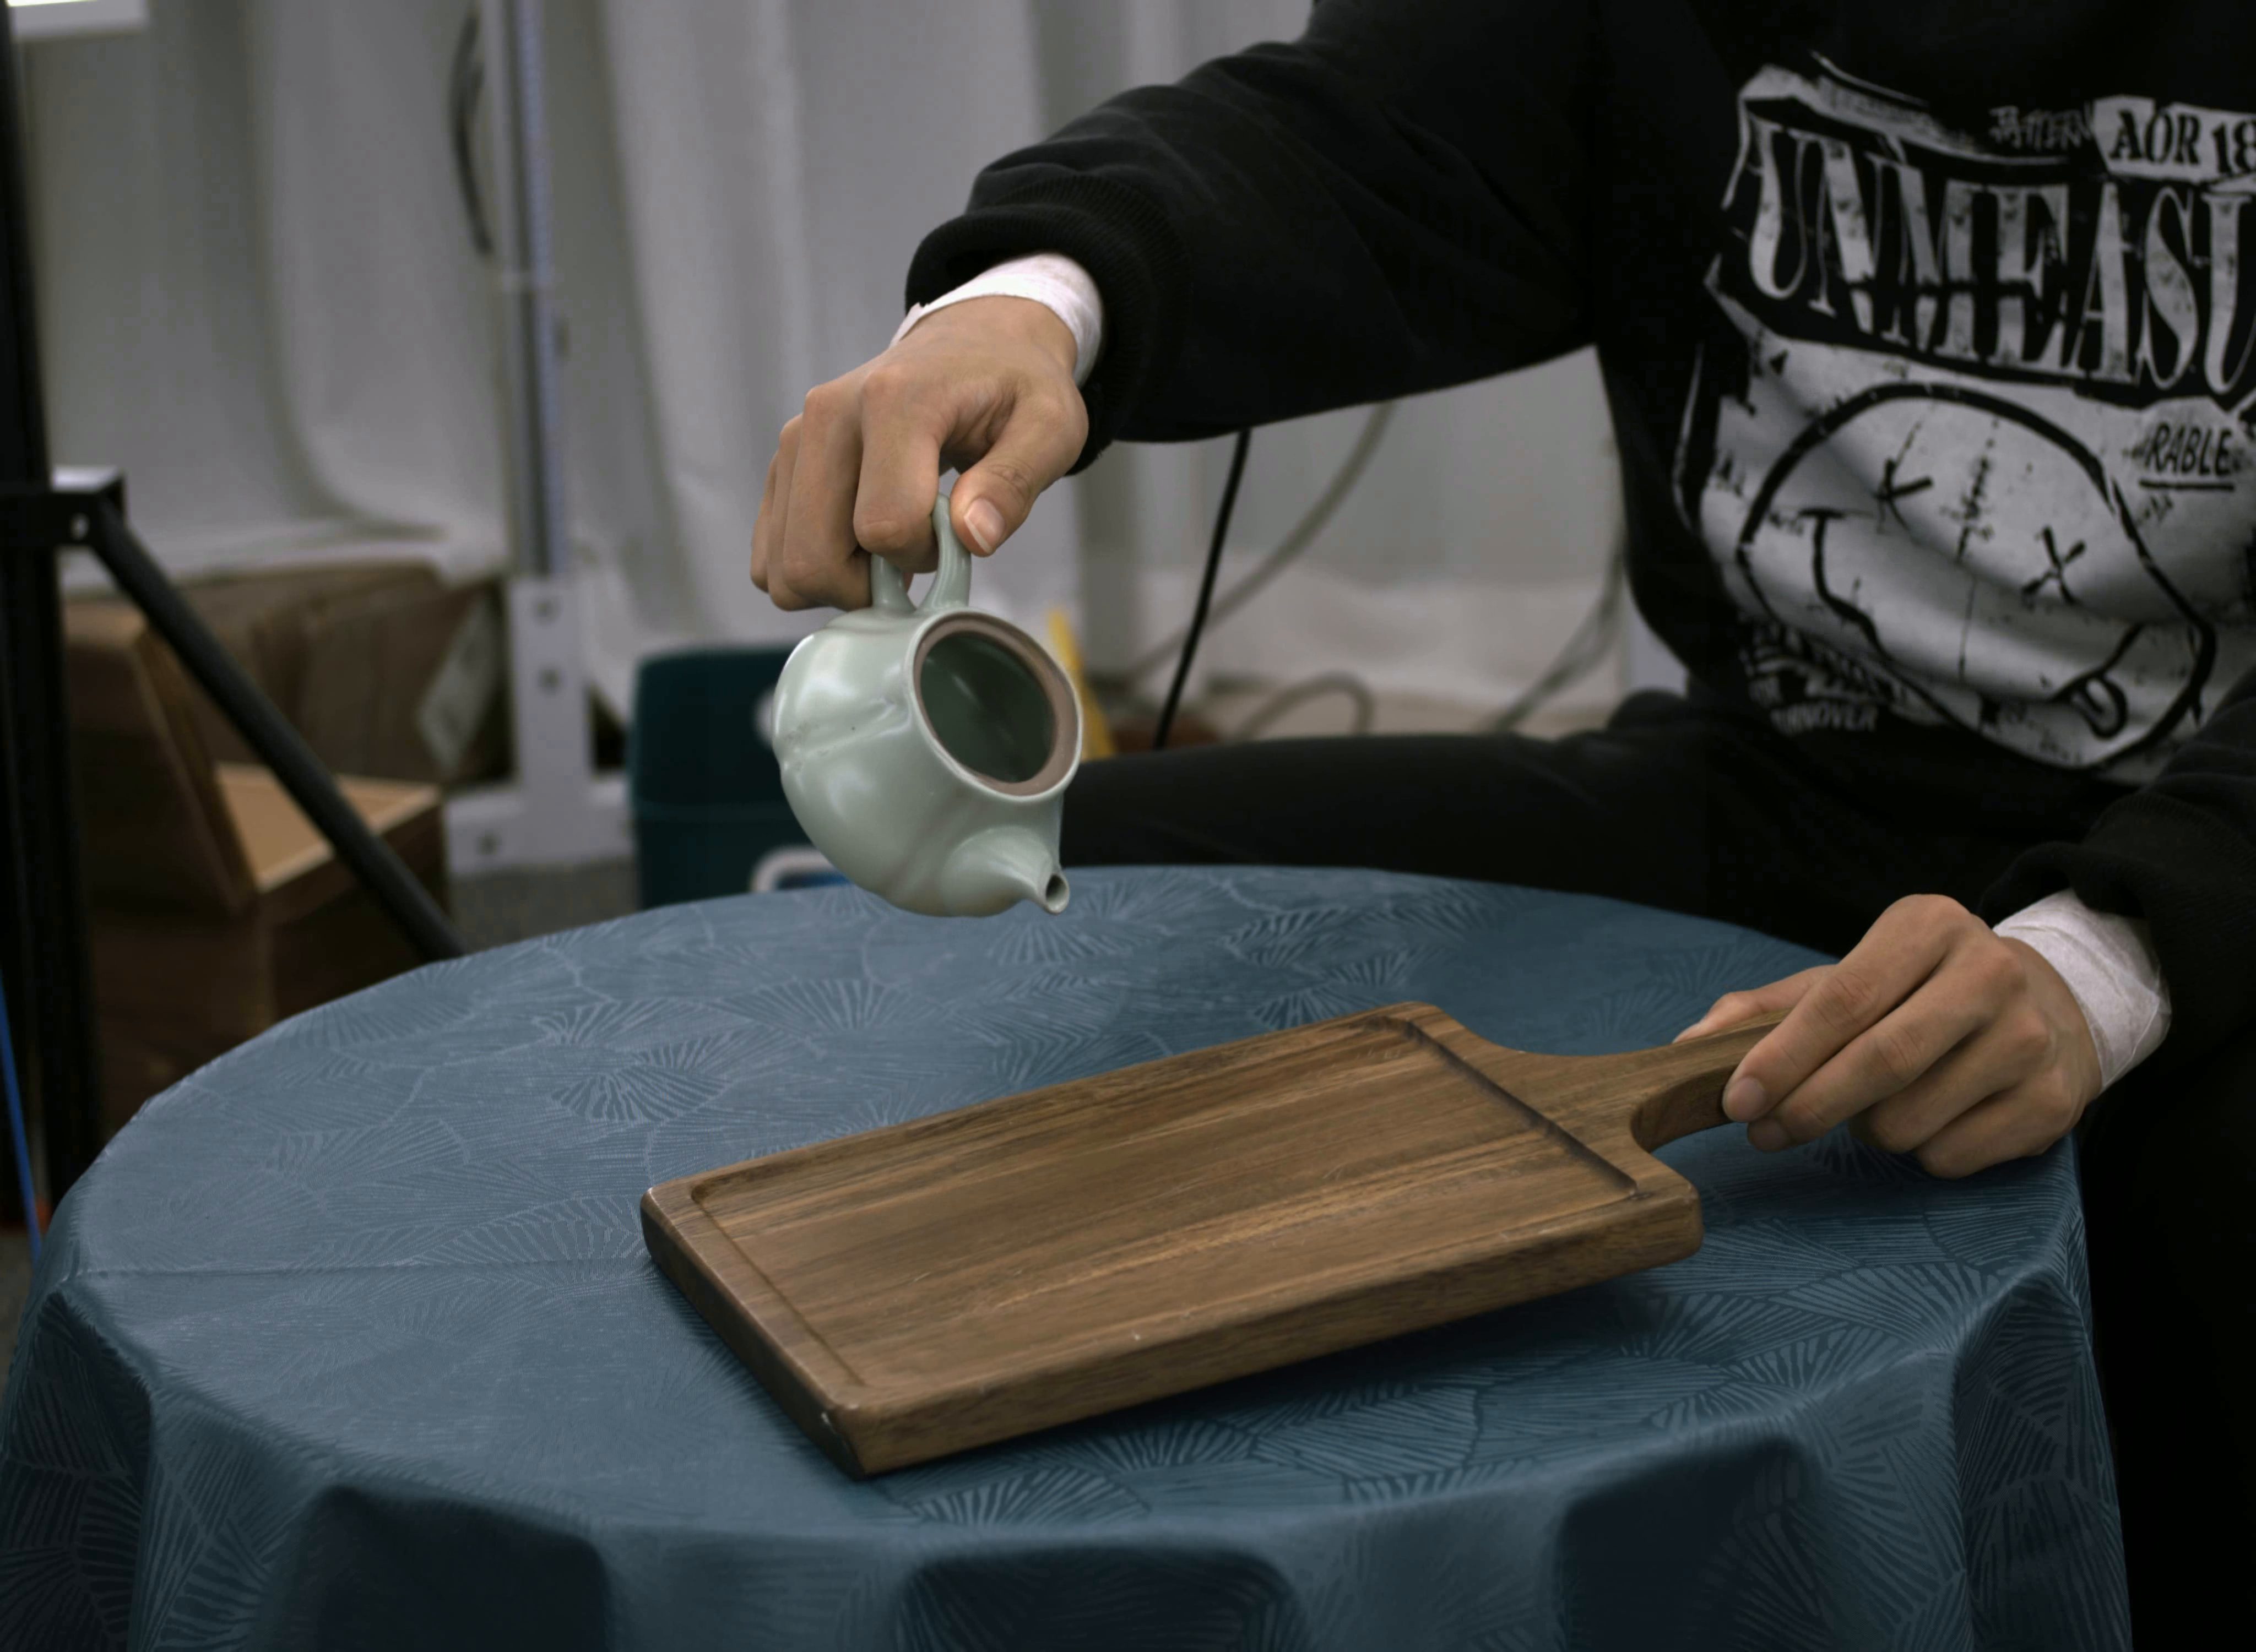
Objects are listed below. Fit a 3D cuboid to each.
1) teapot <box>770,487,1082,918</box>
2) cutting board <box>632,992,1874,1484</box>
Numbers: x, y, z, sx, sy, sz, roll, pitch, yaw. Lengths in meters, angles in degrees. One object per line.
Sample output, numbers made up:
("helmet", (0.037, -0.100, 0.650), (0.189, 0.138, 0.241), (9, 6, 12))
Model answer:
("teapot", (-0.054, -0.028, 1.522), (0.093, 0.138, 0.062), (-2, -23, -40))
("cutting board", (0.054, 0.099, 1.485), (0.346, 0.023, 0.204), (-13, 19, -17))
